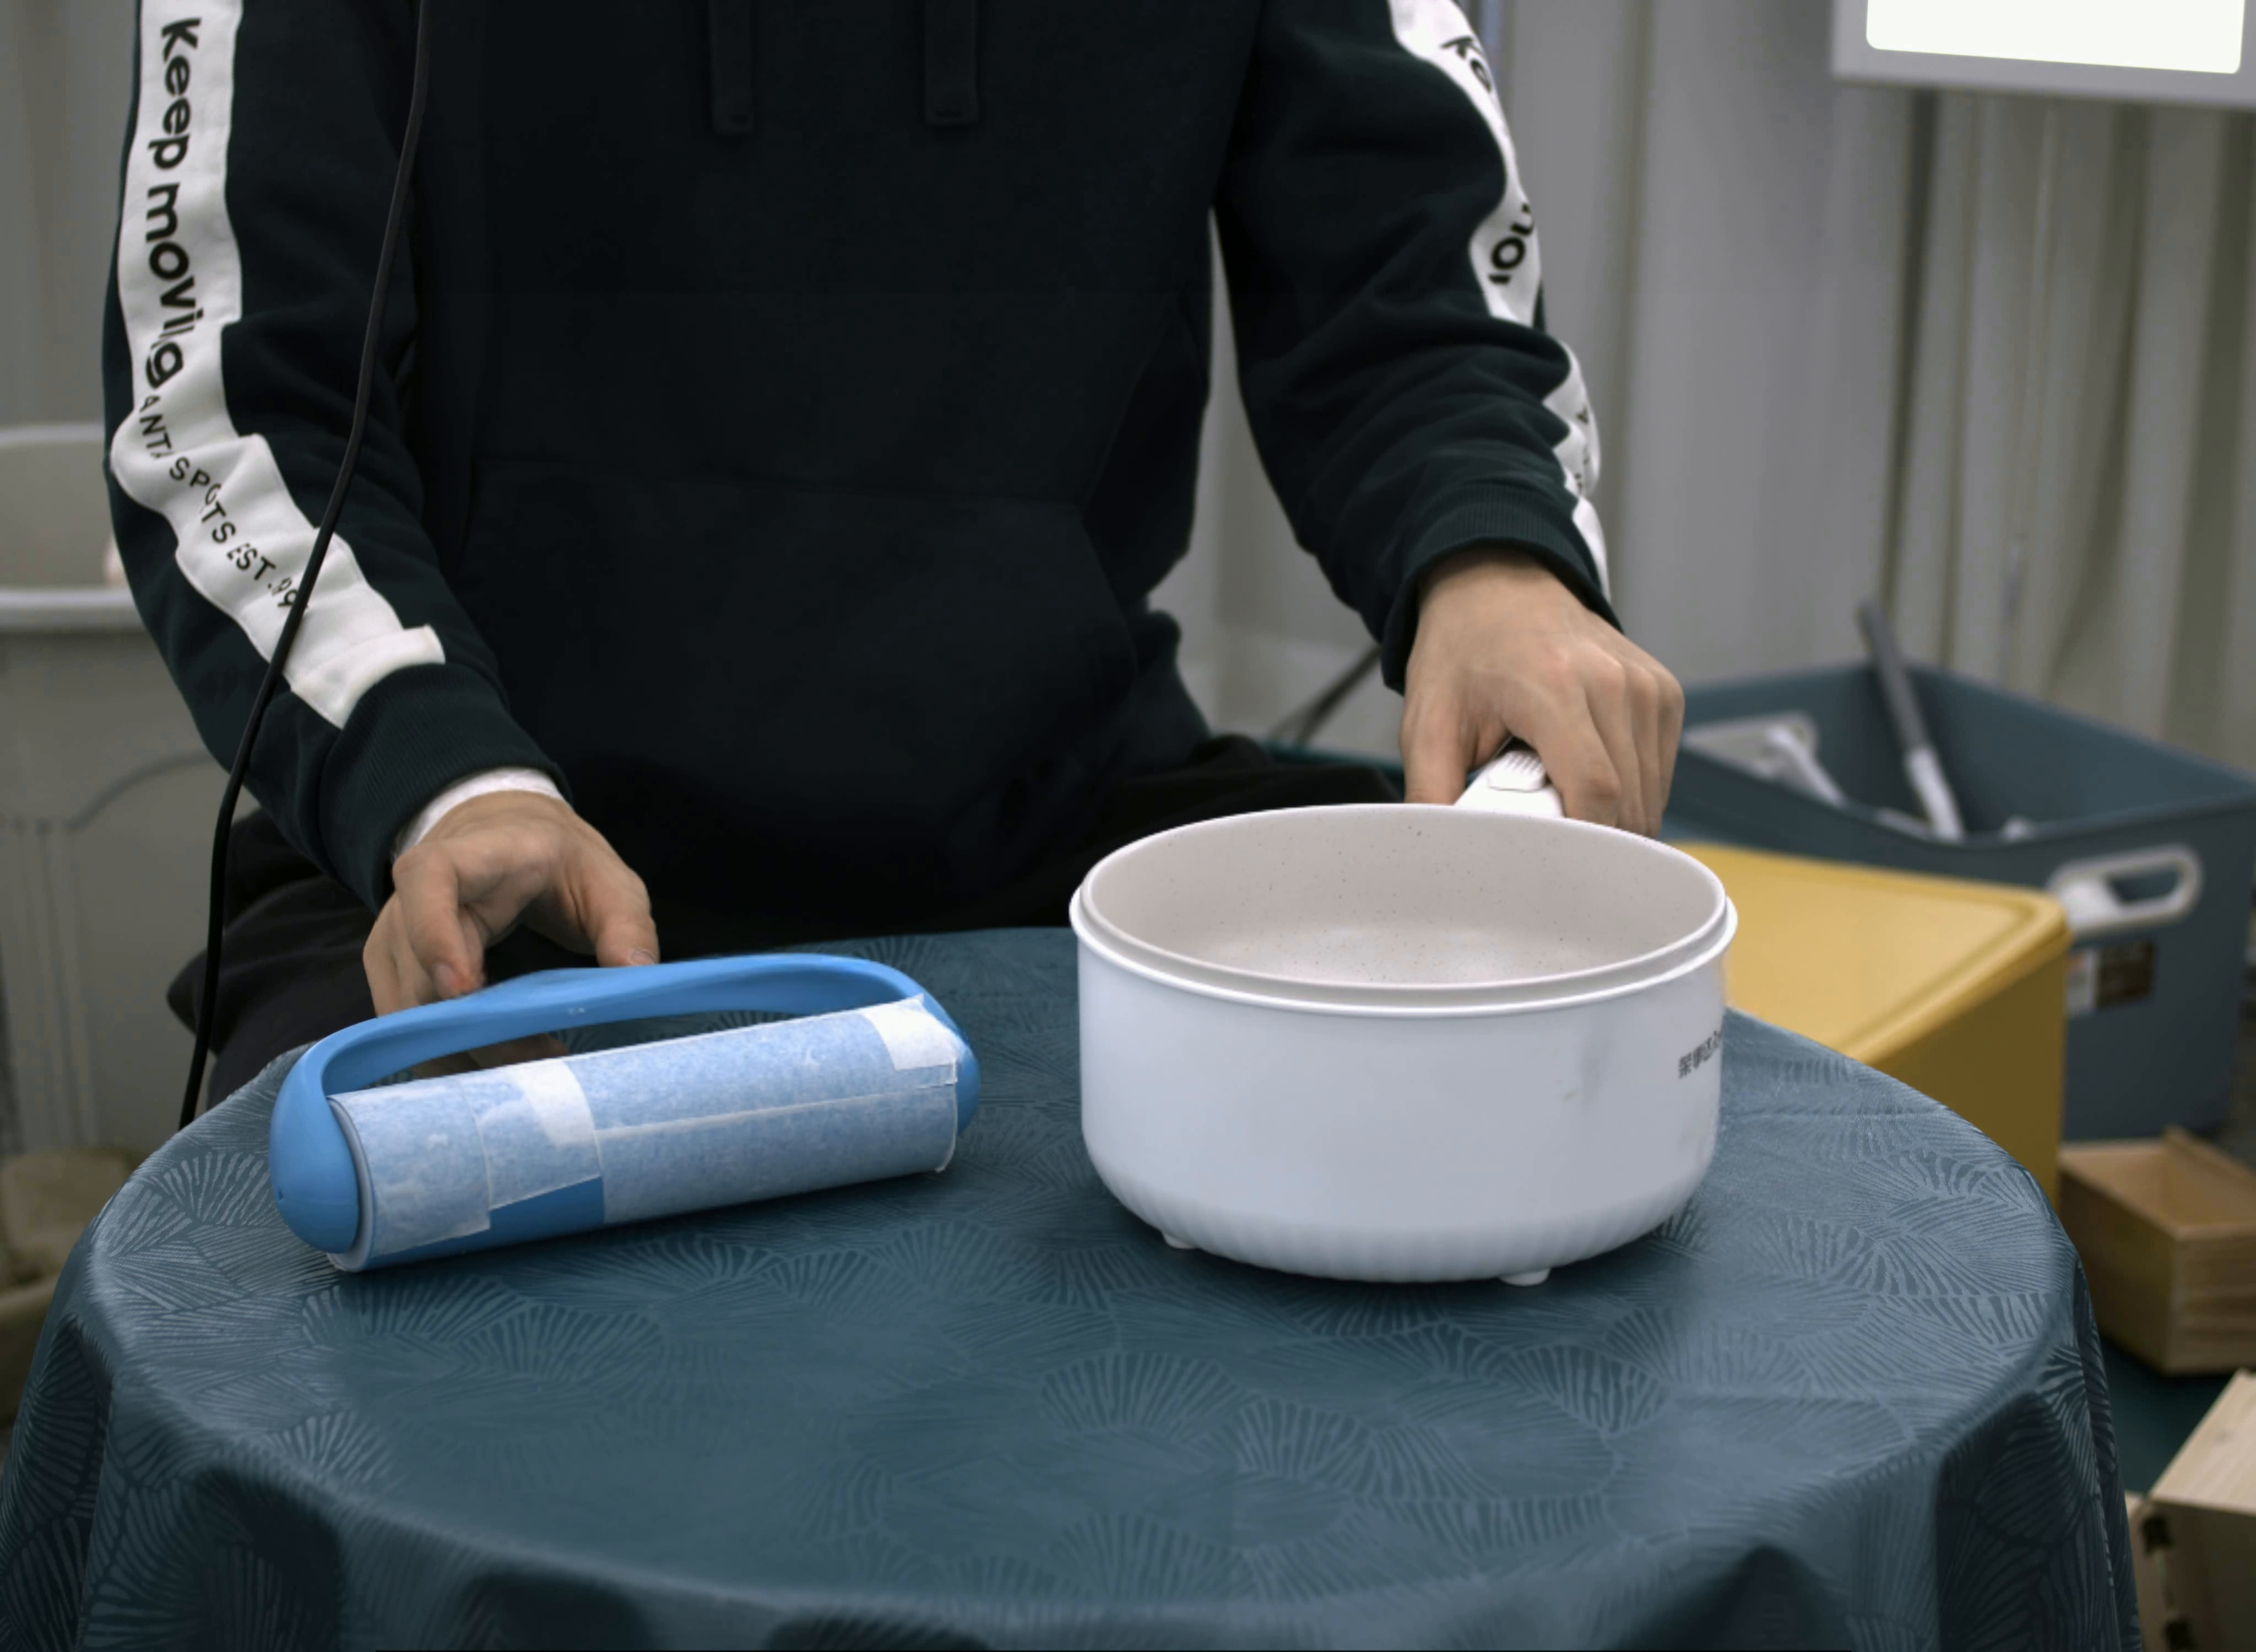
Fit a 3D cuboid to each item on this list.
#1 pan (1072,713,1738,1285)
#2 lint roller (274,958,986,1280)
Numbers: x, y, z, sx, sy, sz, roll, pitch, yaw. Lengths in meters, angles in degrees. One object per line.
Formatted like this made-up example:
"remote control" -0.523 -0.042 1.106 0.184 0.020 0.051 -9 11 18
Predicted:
"pan" 0.106 0.049 1.665 0.199 0.103 0.355 4 15 17
"lint roller" -0.177 0.078 1.631 0.230 0.068 0.178 -11 20 -31
